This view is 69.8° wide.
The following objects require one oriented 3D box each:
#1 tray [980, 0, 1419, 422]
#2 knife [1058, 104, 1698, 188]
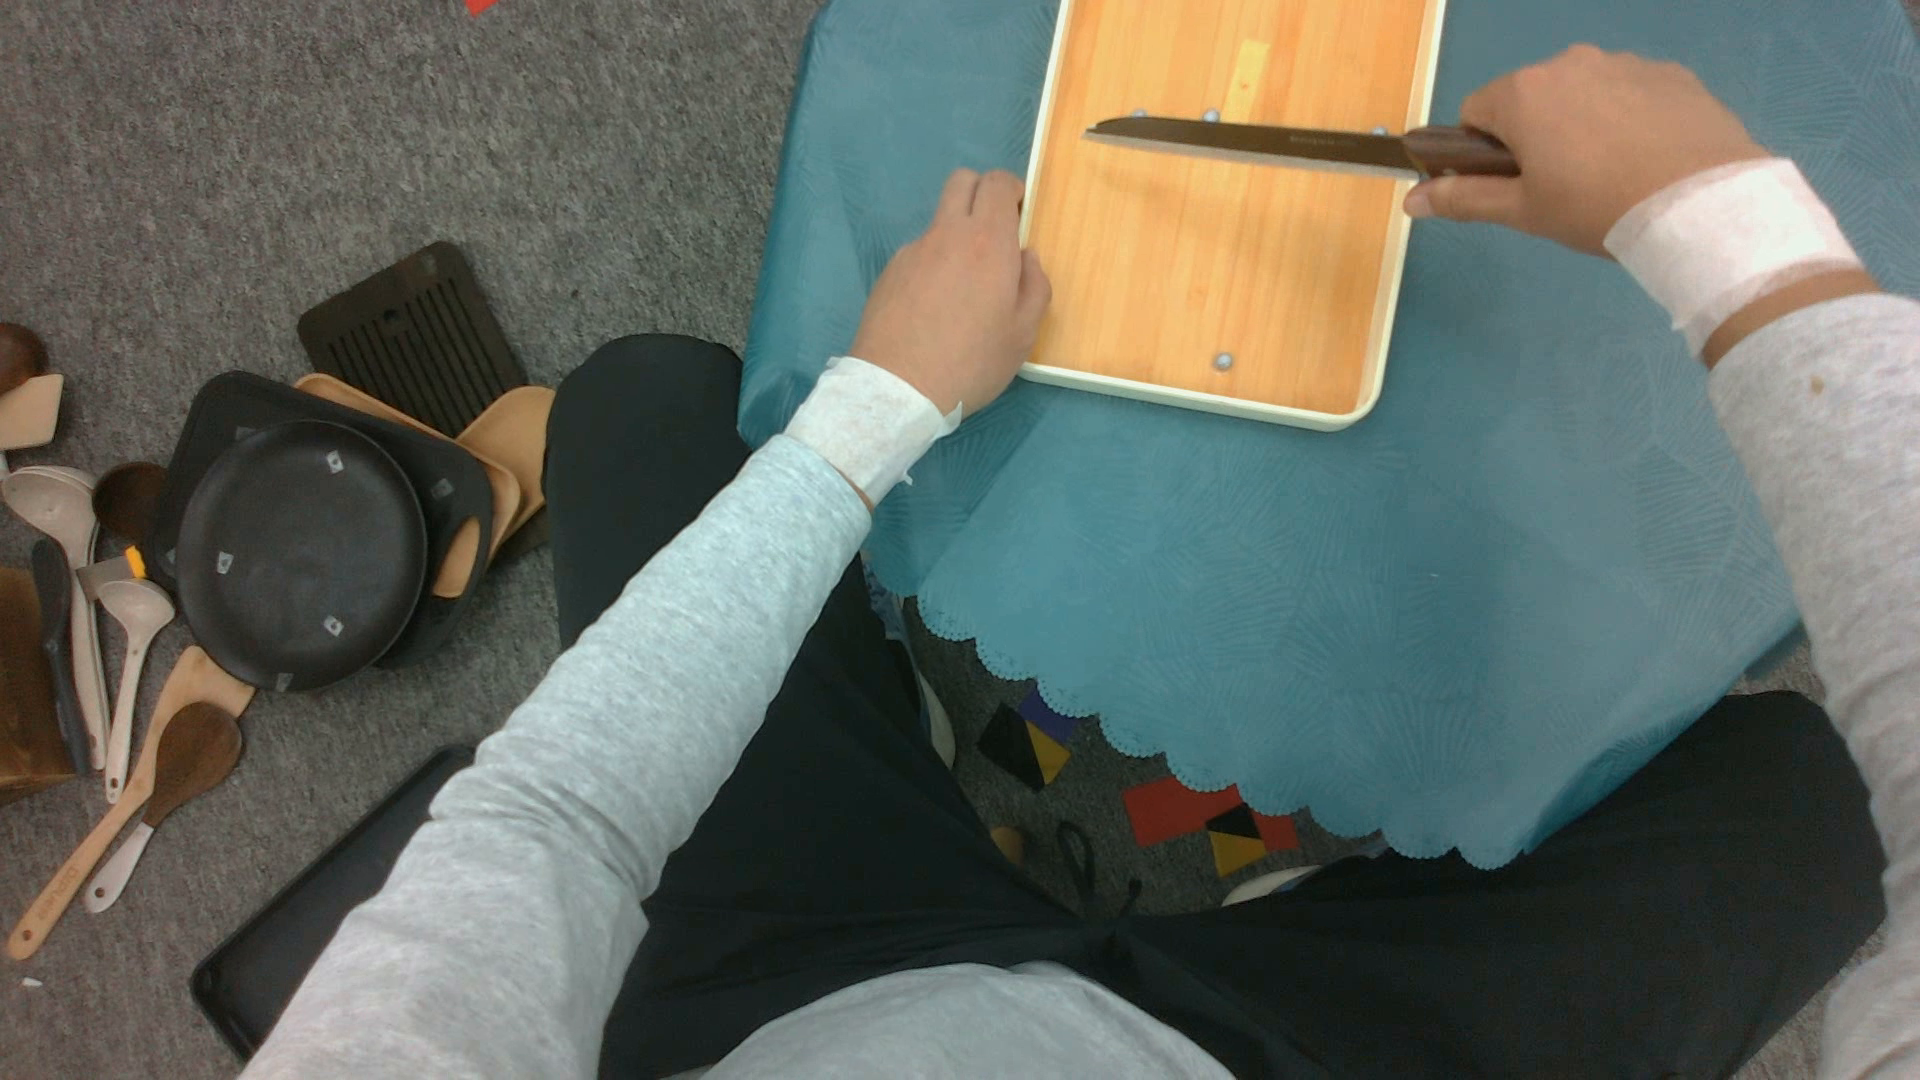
[{"bbox_3d":[0.128,-0.220,0.709,0.191,0.027,0.300,10,82,4],"label":"tray"},{"bbox_3d":[0.174,-0.181,0.625,0.289,0.050,0.020,12,83,28],"label":"knife"}]
